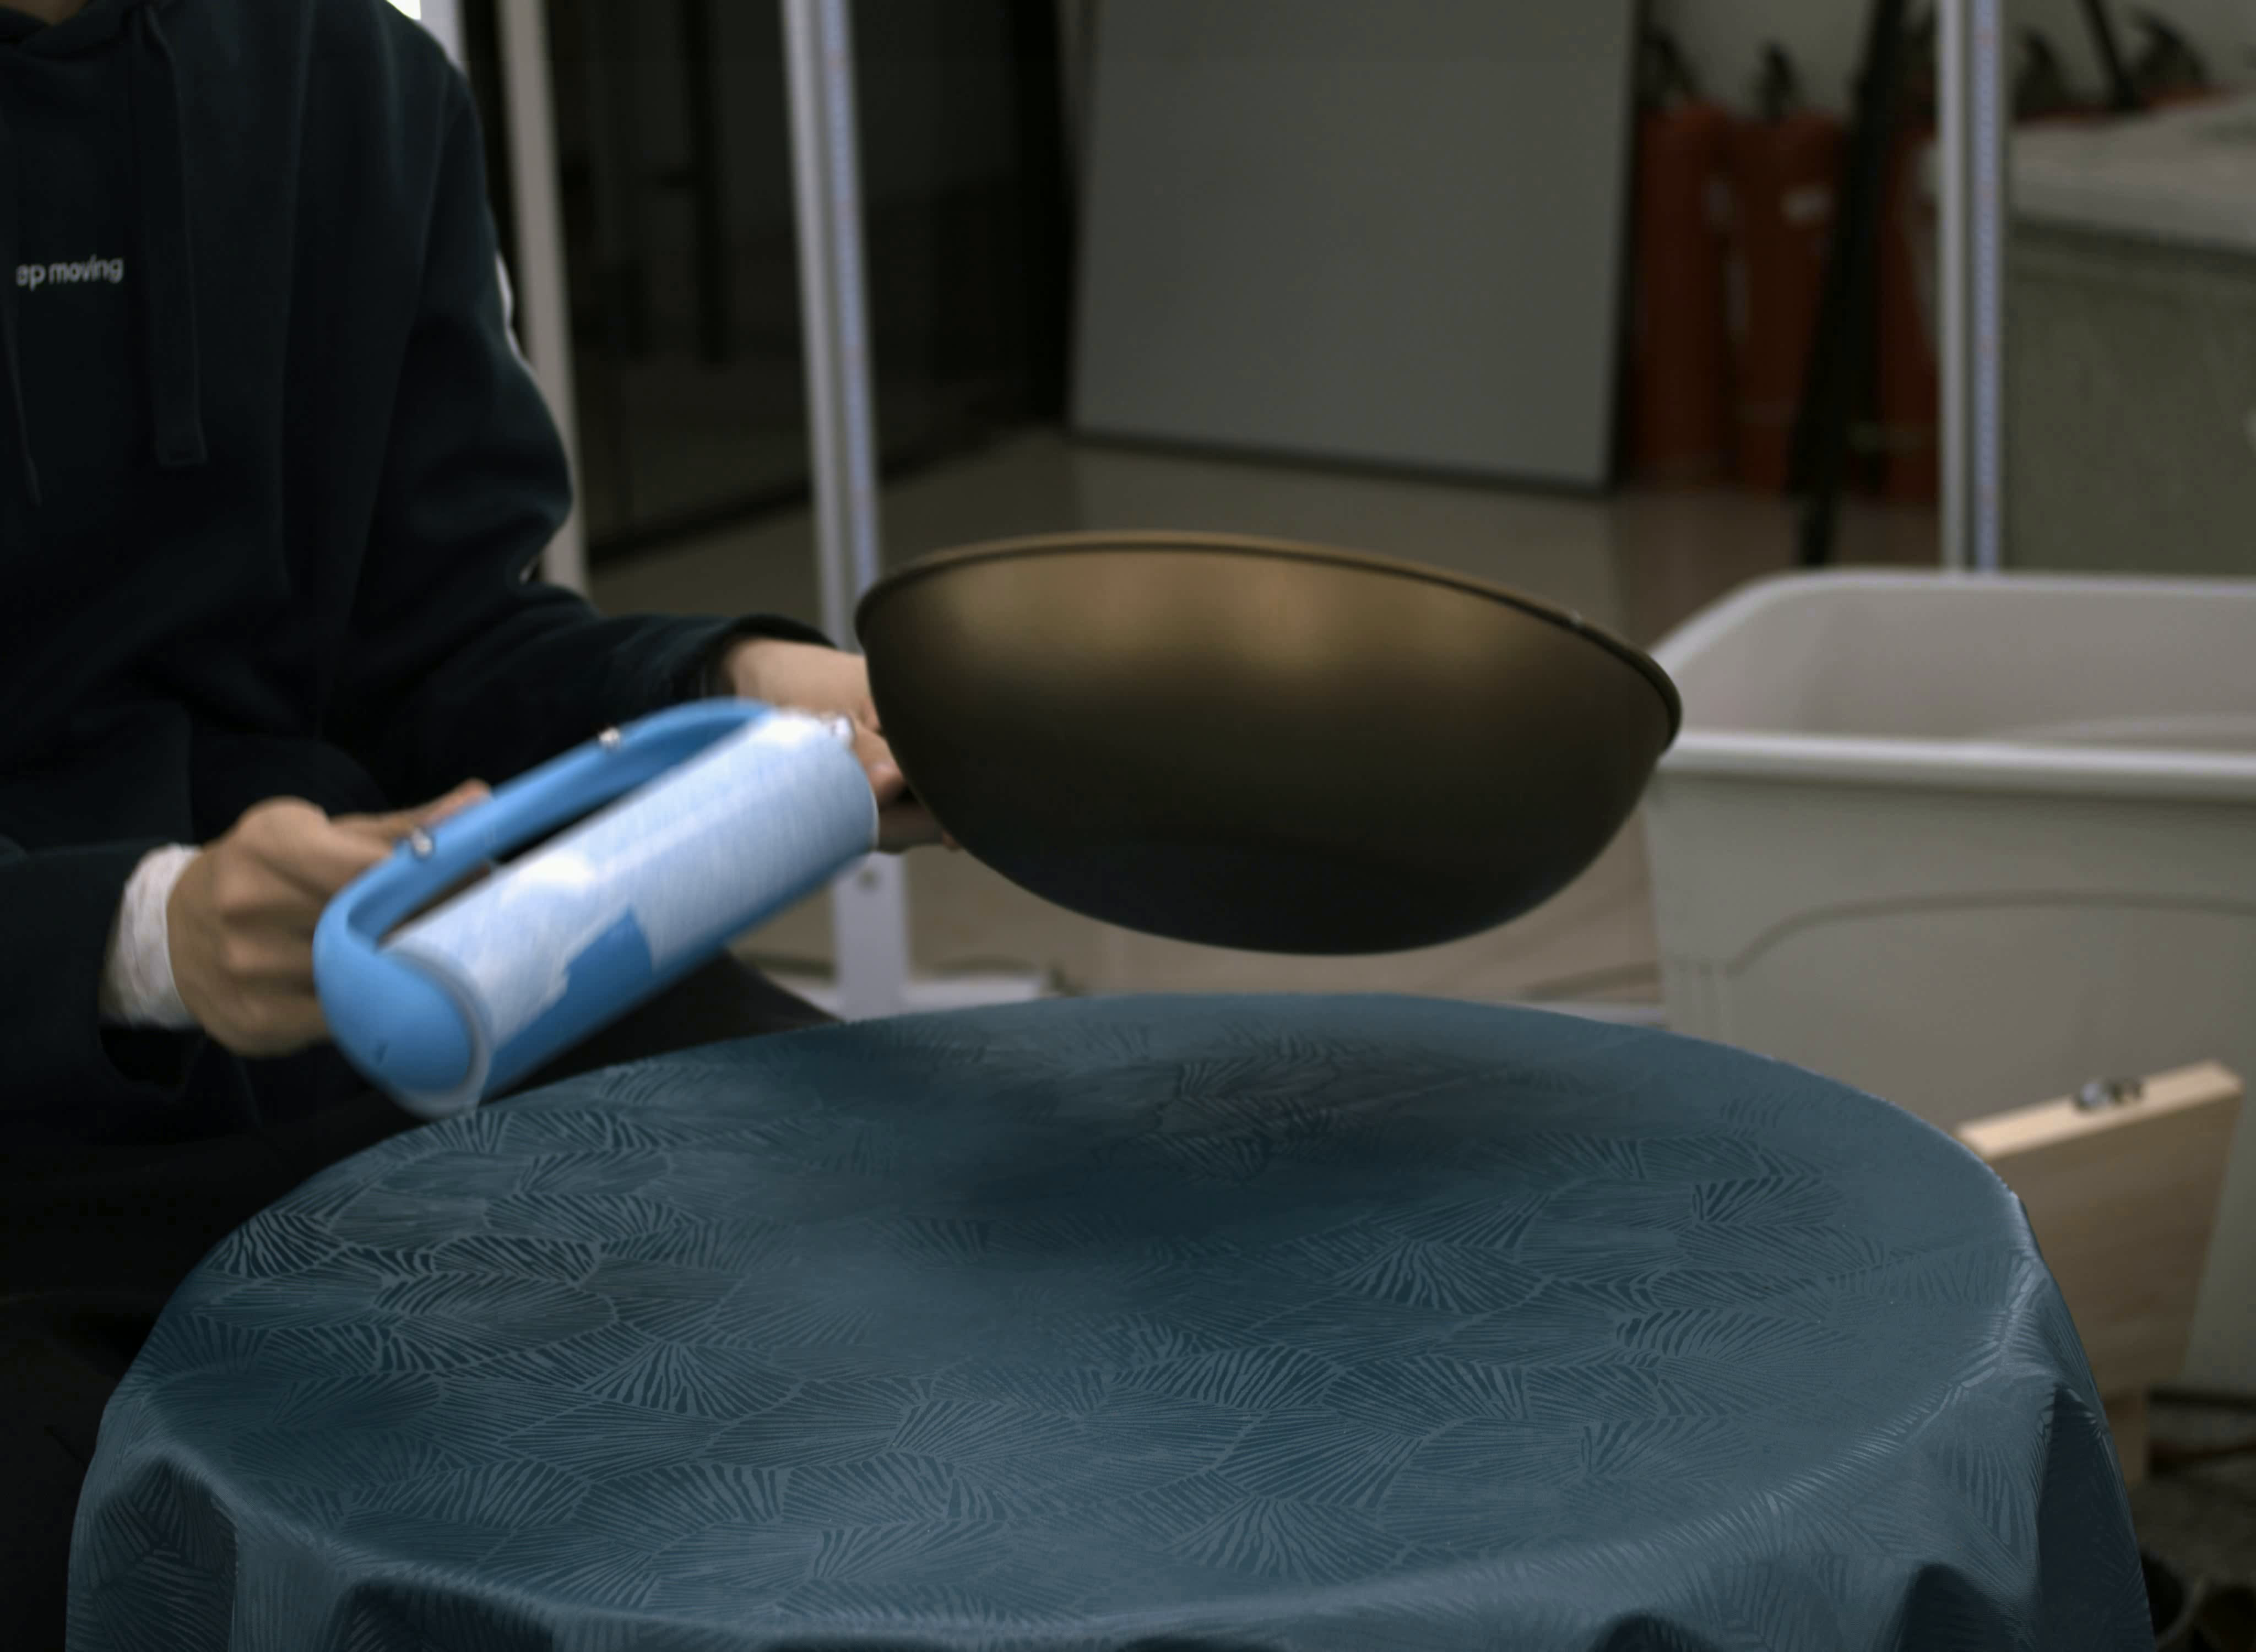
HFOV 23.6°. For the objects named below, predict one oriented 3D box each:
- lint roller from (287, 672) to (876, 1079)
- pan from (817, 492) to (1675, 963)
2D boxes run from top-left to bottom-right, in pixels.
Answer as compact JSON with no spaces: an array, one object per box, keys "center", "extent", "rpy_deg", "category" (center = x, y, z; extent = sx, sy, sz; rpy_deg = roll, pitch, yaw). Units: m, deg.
[{"center":[-0.197,0.021,1.650],"extent":[0.181,0.068,0.226],"rpy_deg":[-10,17,33],"category":"lint roller"},{"center":[-0.018,-0.004,1.859],"extent":[0.282,0.088,0.468],"rpy_deg":[22,-22,-34],"category":"pan"}]
